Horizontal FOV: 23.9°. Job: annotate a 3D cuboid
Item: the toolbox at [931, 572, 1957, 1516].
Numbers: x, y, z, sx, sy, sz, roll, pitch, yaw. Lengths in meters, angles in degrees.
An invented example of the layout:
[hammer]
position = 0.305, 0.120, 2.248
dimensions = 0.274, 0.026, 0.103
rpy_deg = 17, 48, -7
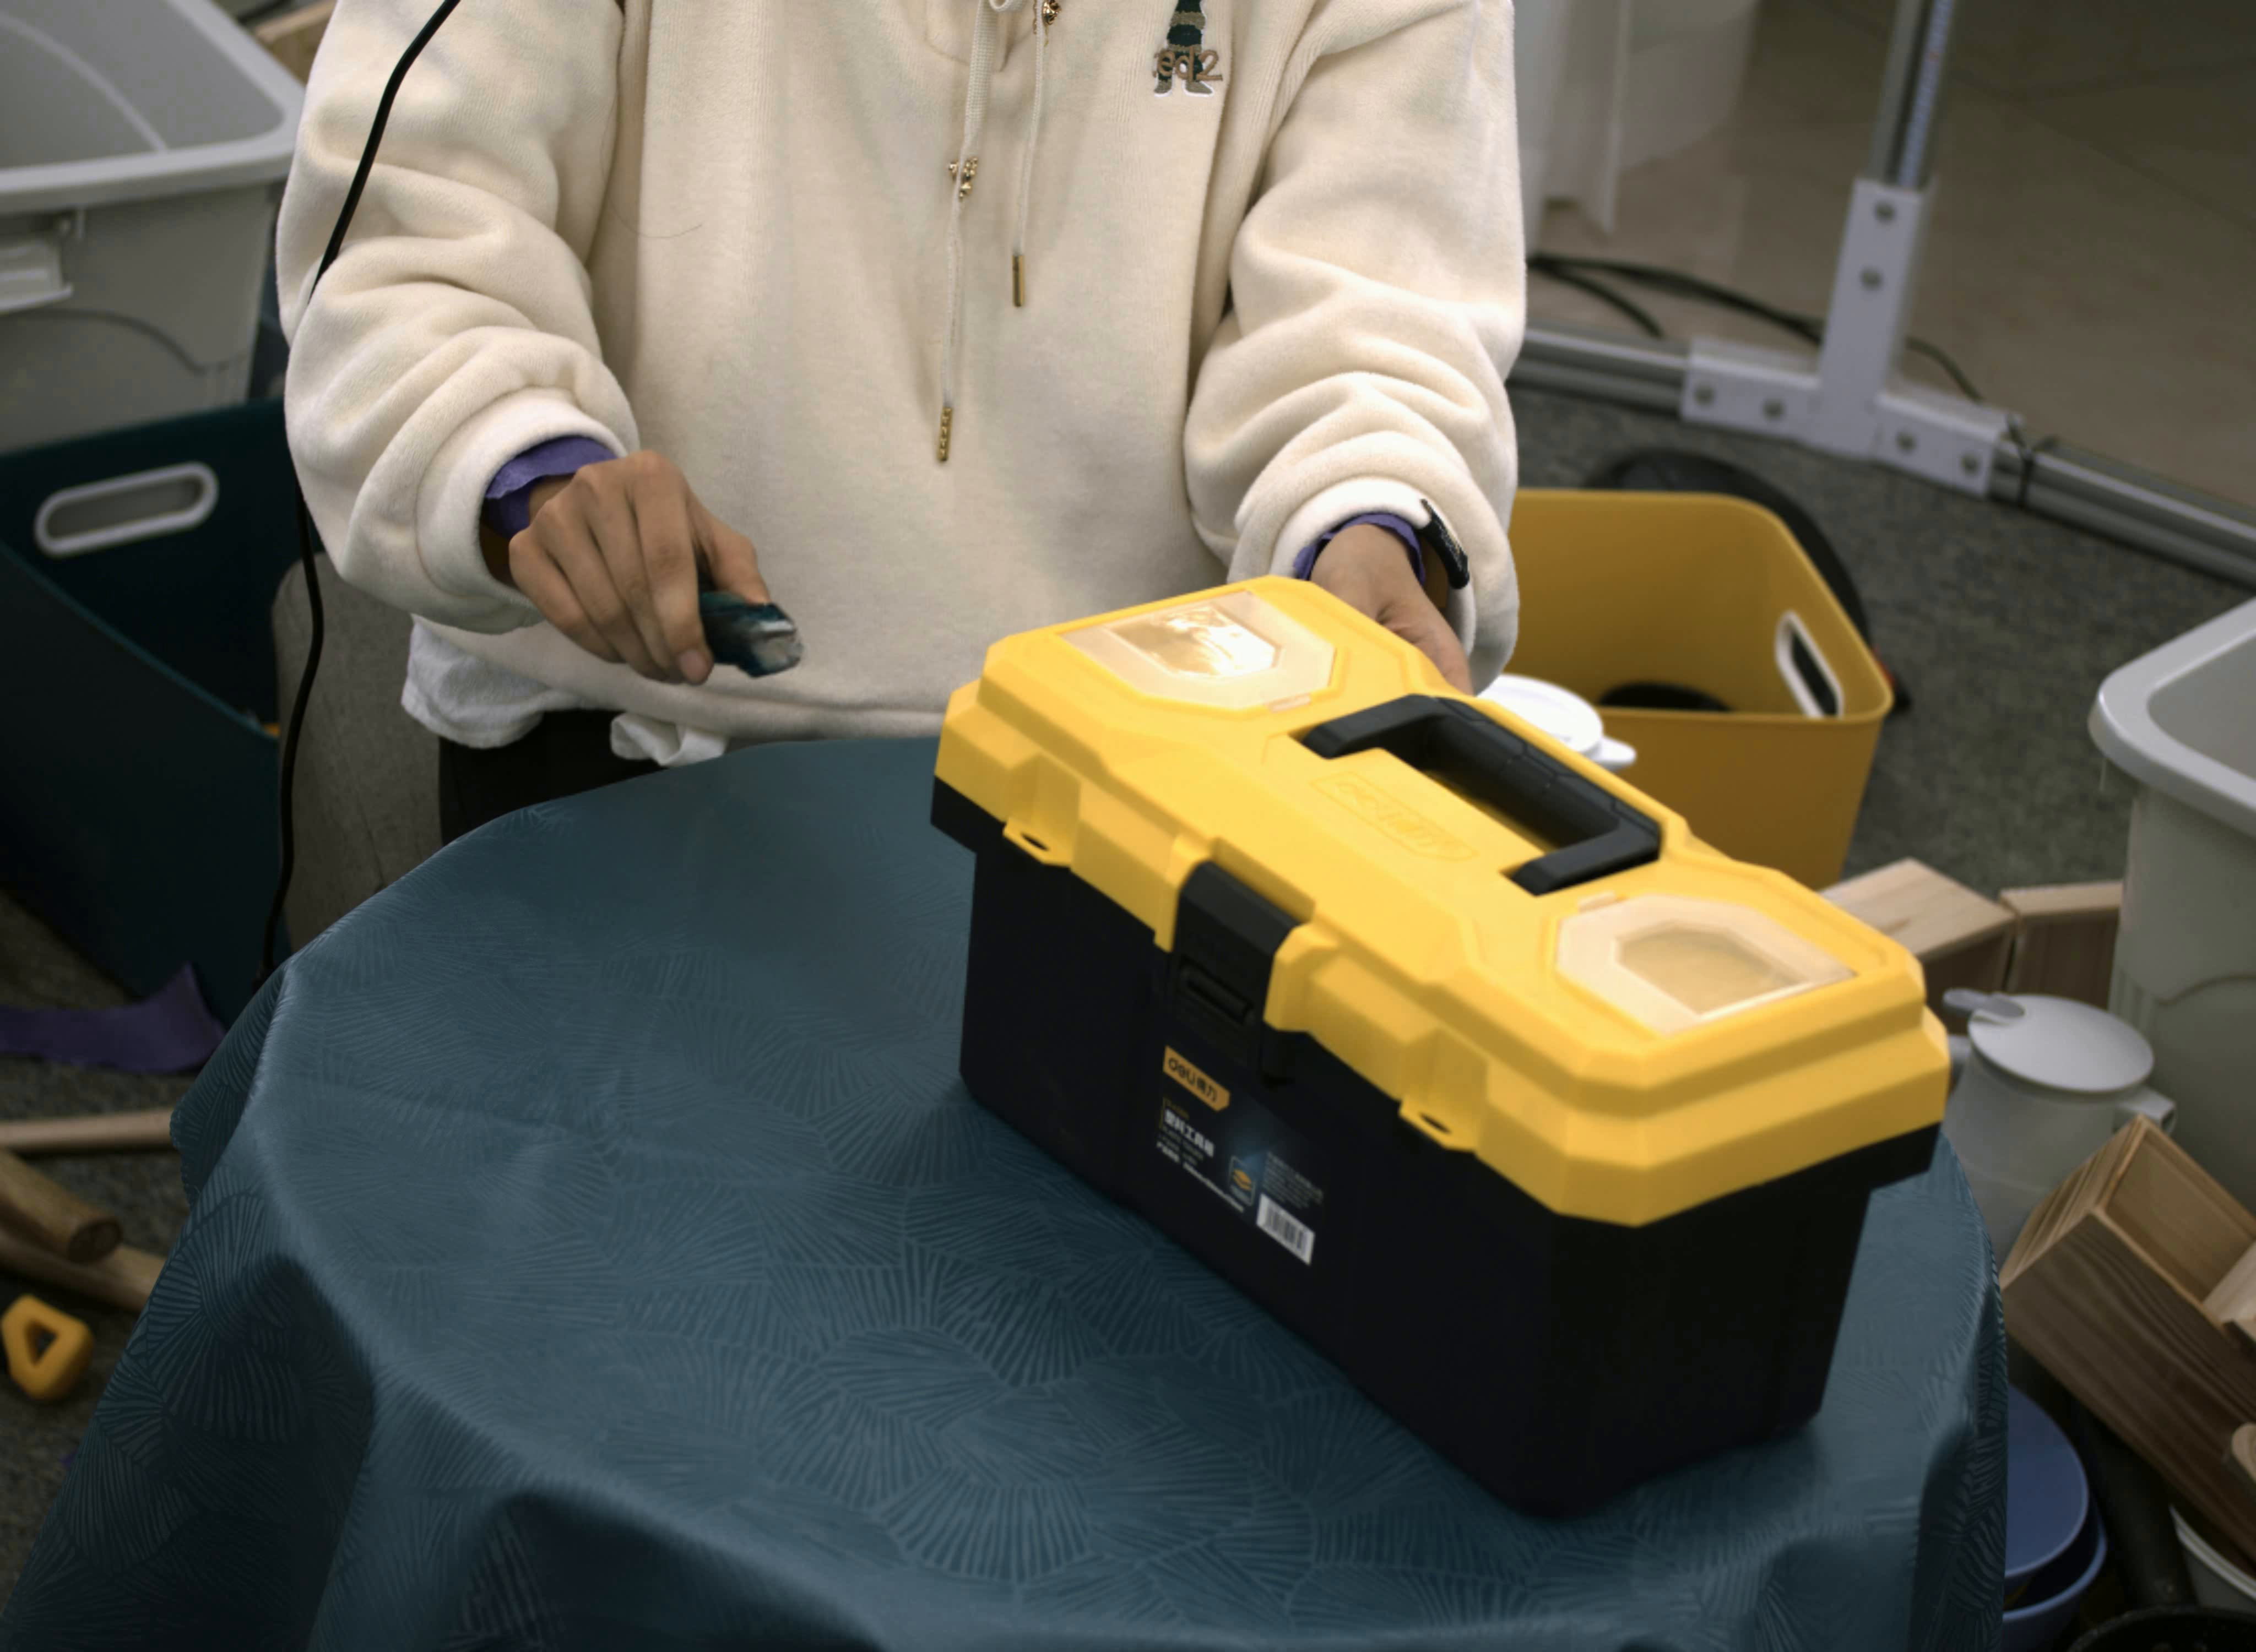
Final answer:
[toolbox]
position = 0.090, 0.065, 1.747
dimensions = 0.180, 0.172, 0.354
rpy_deg = -14, 33, -35

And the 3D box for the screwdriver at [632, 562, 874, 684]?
[screwdriver]
position = -0.129, -0.066, 1.863
dimensions = 0.033, 0.033, 0.191
rpy_deg = -7, 14, -26
